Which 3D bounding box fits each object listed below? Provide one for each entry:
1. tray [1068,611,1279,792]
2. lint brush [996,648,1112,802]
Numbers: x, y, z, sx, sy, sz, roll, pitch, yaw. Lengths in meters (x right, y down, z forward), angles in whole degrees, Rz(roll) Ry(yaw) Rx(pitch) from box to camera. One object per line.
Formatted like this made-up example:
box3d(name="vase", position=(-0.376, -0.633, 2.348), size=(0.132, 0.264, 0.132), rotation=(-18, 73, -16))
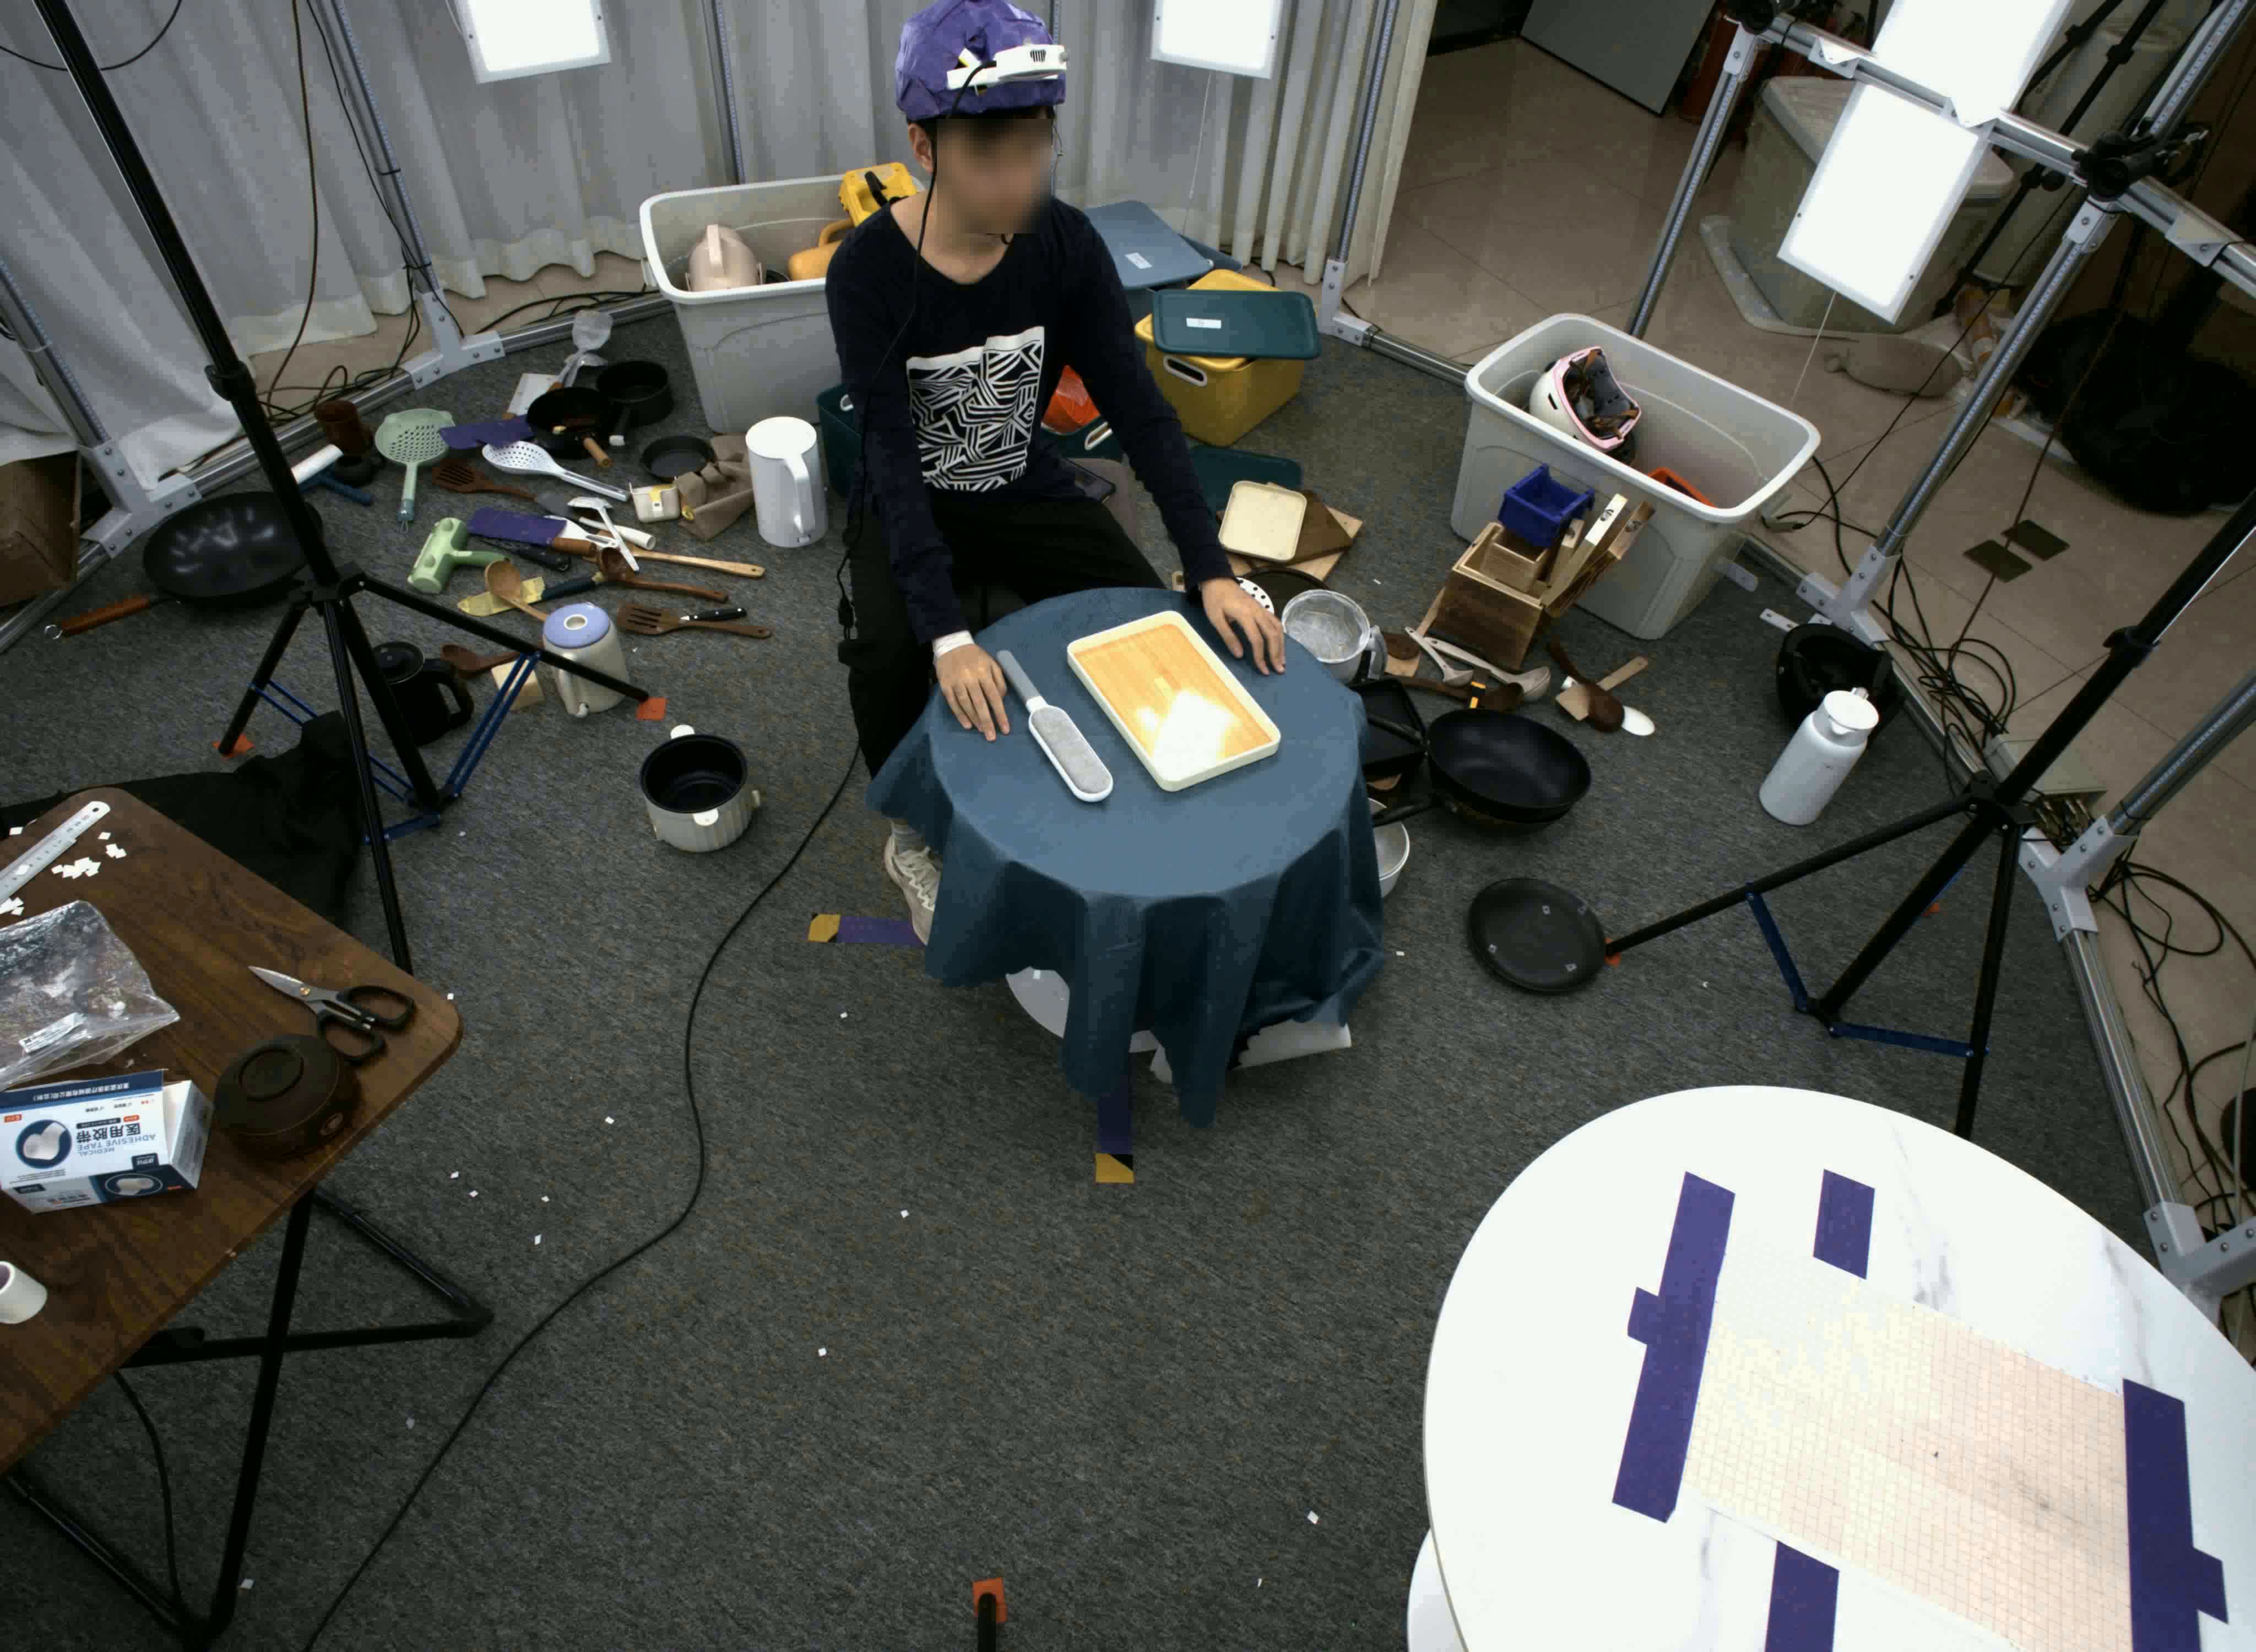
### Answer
box3d(name="tray", position=(0.060, -0.183, 1.813), size=(0.192, 0.027, 0.307), rotation=(-20, 53, -20))
box3d(name="lint brush", position=(-0.108, -0.145, 1.769), size=(0.060, 0.020, 0.315), rotation=(-24, 54, -15))
